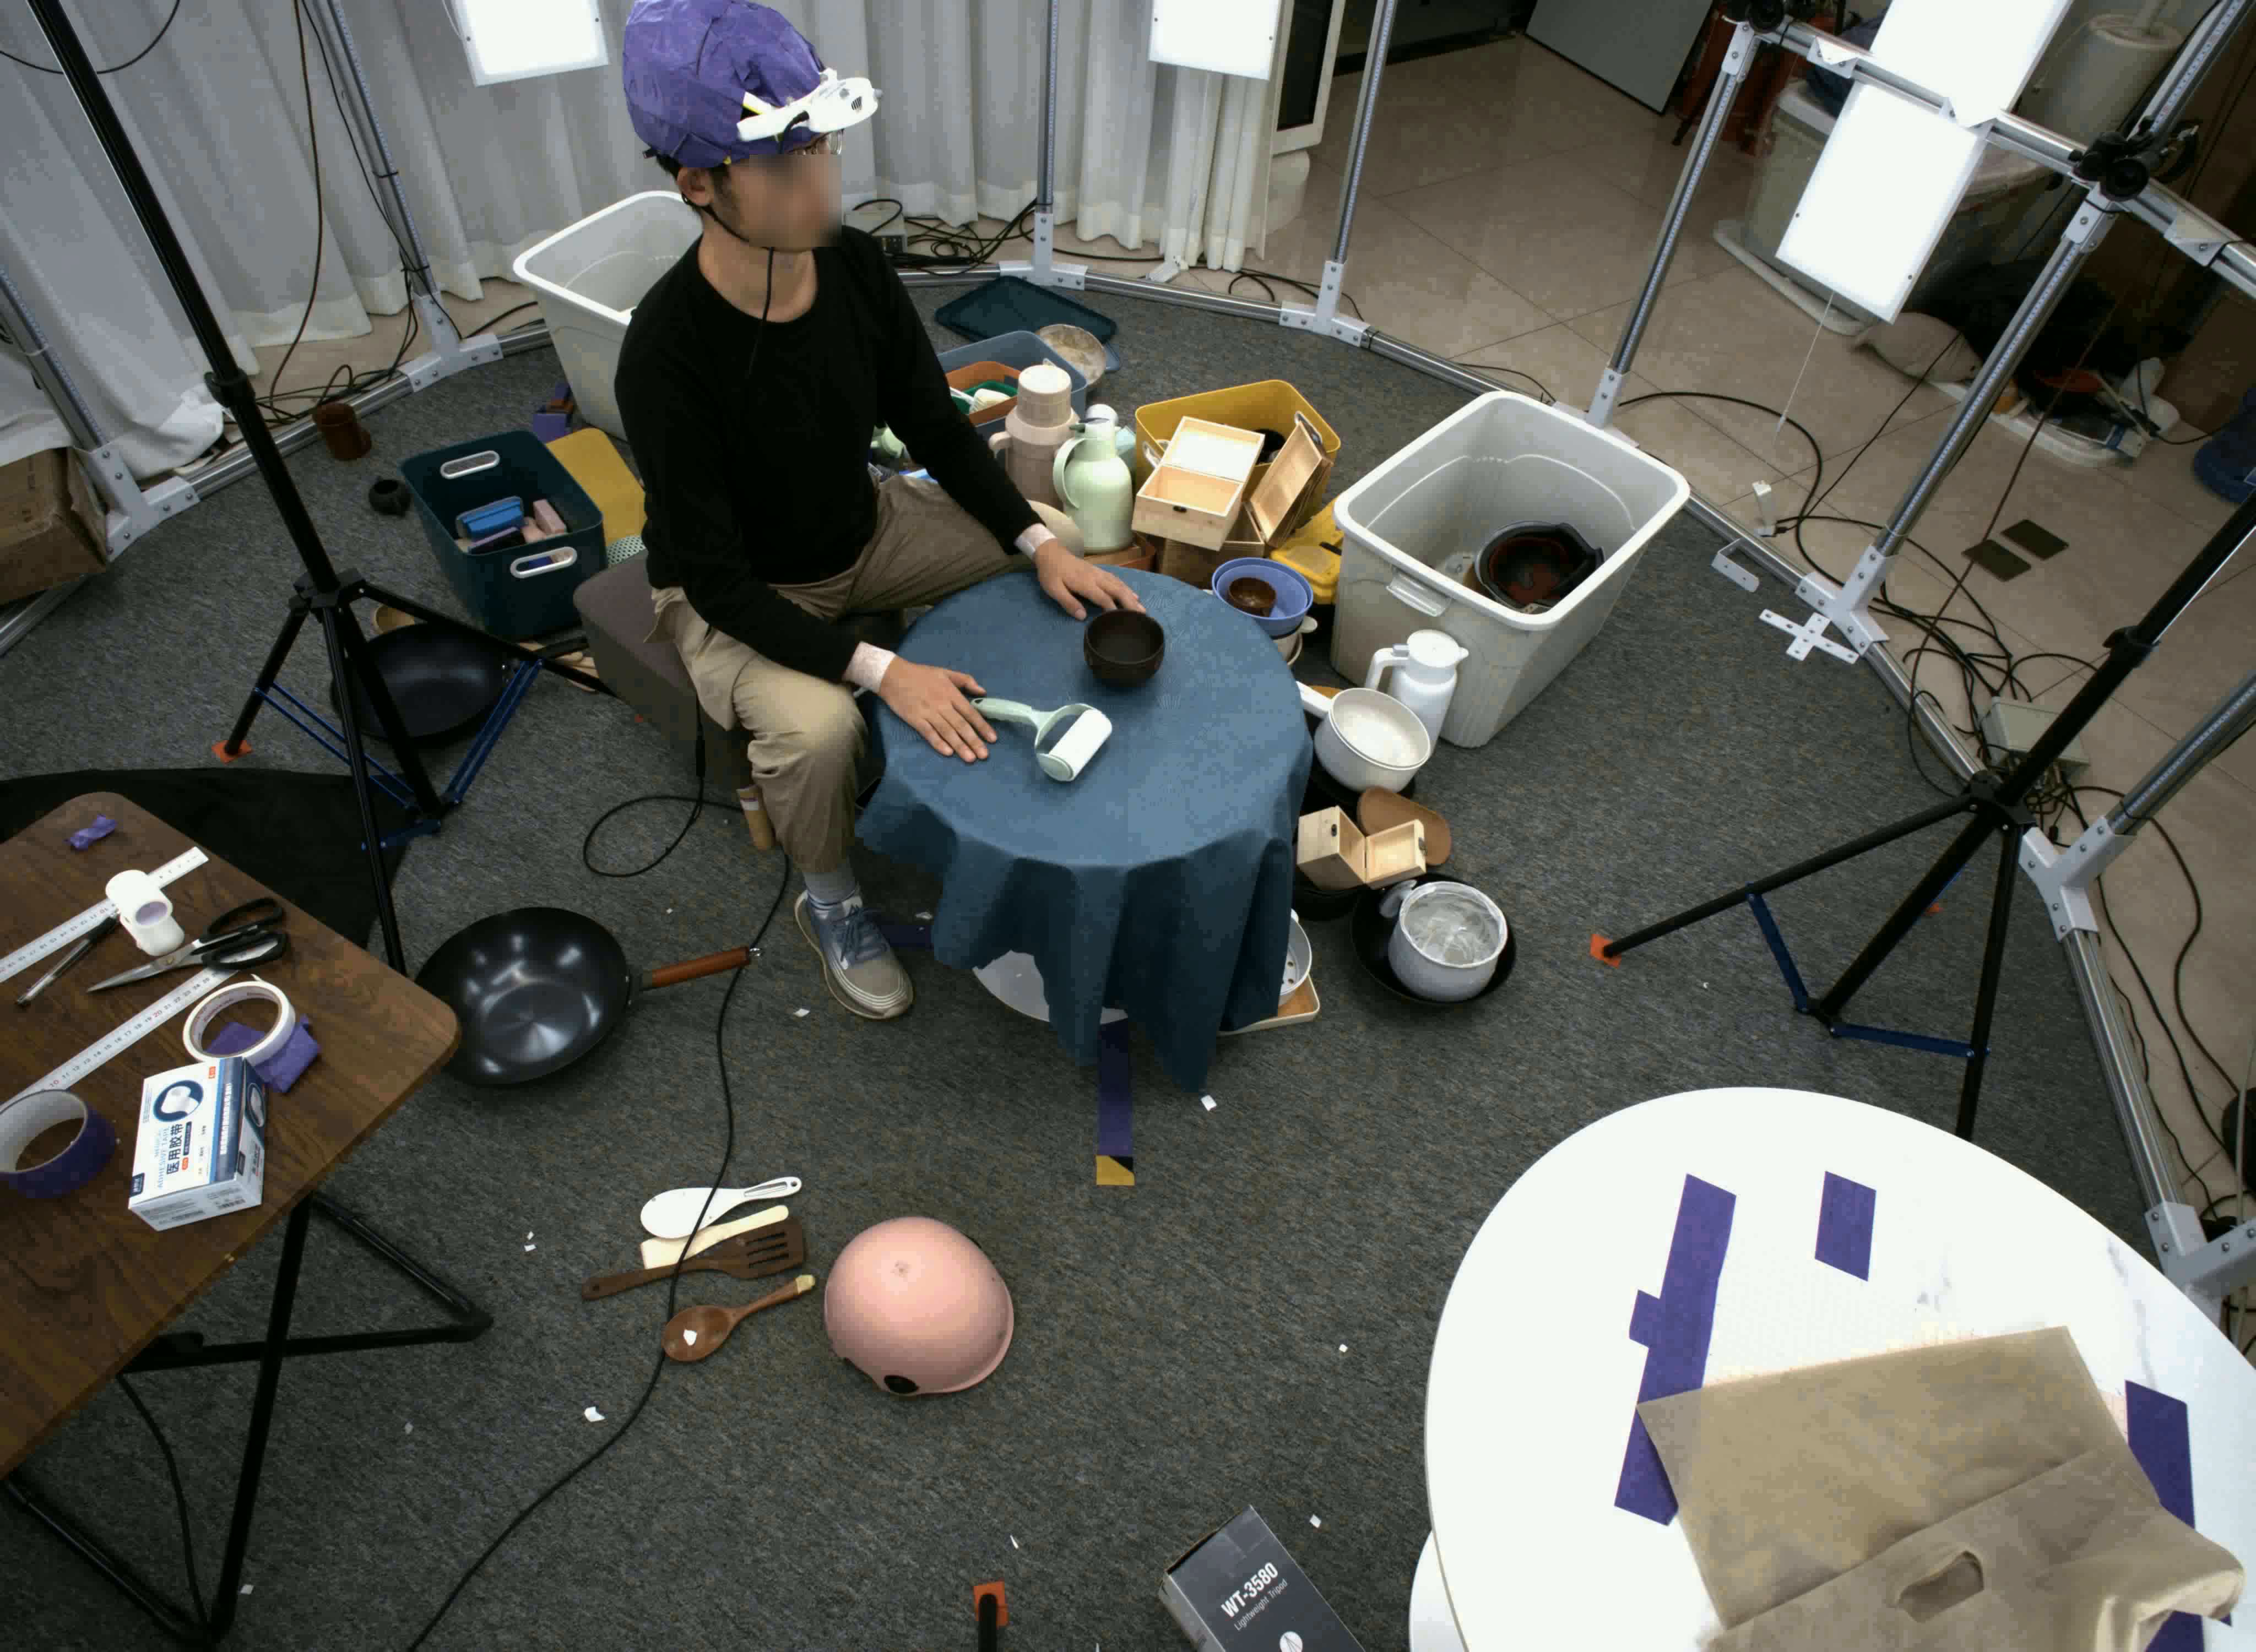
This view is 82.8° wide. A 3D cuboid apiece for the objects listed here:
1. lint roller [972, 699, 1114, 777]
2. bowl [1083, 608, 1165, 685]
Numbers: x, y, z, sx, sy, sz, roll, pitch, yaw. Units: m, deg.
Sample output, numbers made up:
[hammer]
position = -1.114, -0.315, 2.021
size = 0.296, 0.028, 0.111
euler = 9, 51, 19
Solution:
[lint roller]
position = -0.127, -0.144, 1.757
size = 0.199, 0.047, 0.118
euler = 24, 53, 18
[bowl]
position = -0.006, -0.248, 1.839
size = 0.118, 0.068, 0.121
euler = 1, 50, -1
